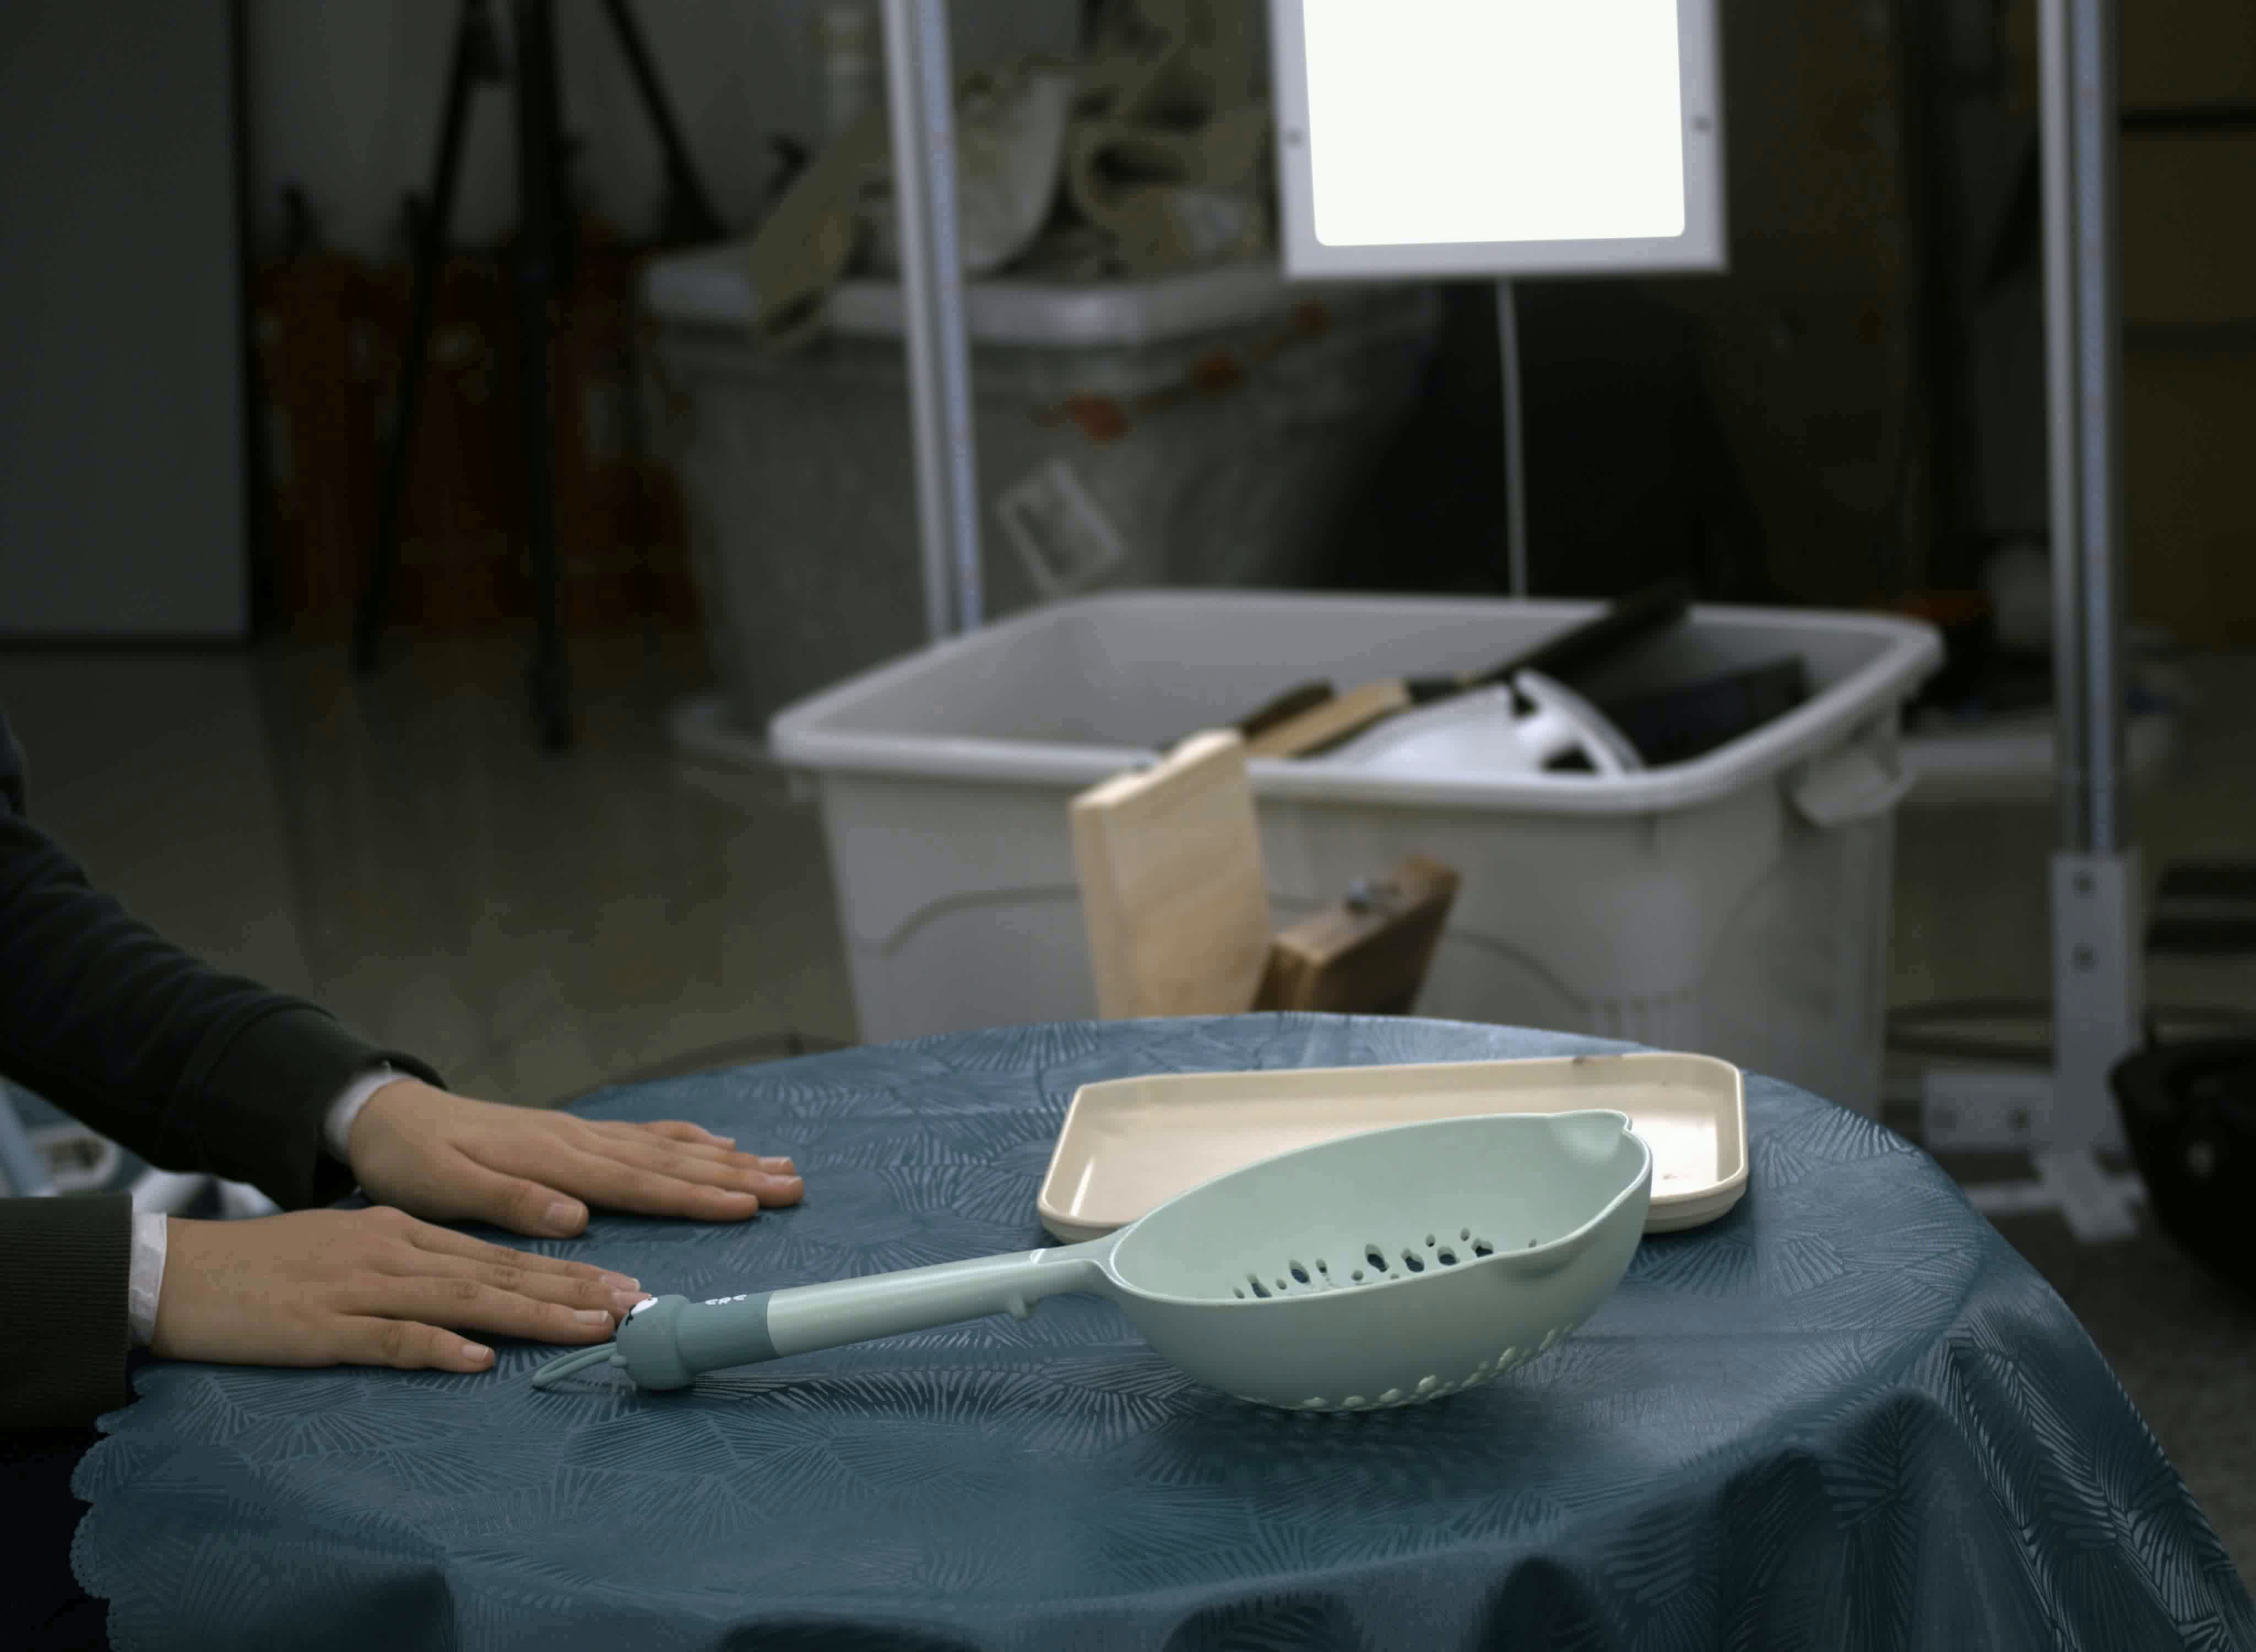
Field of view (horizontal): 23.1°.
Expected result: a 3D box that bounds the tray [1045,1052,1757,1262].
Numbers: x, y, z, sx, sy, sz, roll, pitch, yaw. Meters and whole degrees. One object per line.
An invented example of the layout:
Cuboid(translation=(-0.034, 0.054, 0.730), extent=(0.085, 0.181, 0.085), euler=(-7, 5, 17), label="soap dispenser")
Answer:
Cuboid(translation=(0.095, 0.114, 1.882), extent=(0.240, 0.017, 0.170), euler=(-4, 13, 8), label="tray")

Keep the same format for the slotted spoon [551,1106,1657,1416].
Cuboid(translation=(-0.013, 0.143, 1.703), extent=(0.362, 0.075, 0.167), euler=(-2, 13, 15), label="slotted spoon")
